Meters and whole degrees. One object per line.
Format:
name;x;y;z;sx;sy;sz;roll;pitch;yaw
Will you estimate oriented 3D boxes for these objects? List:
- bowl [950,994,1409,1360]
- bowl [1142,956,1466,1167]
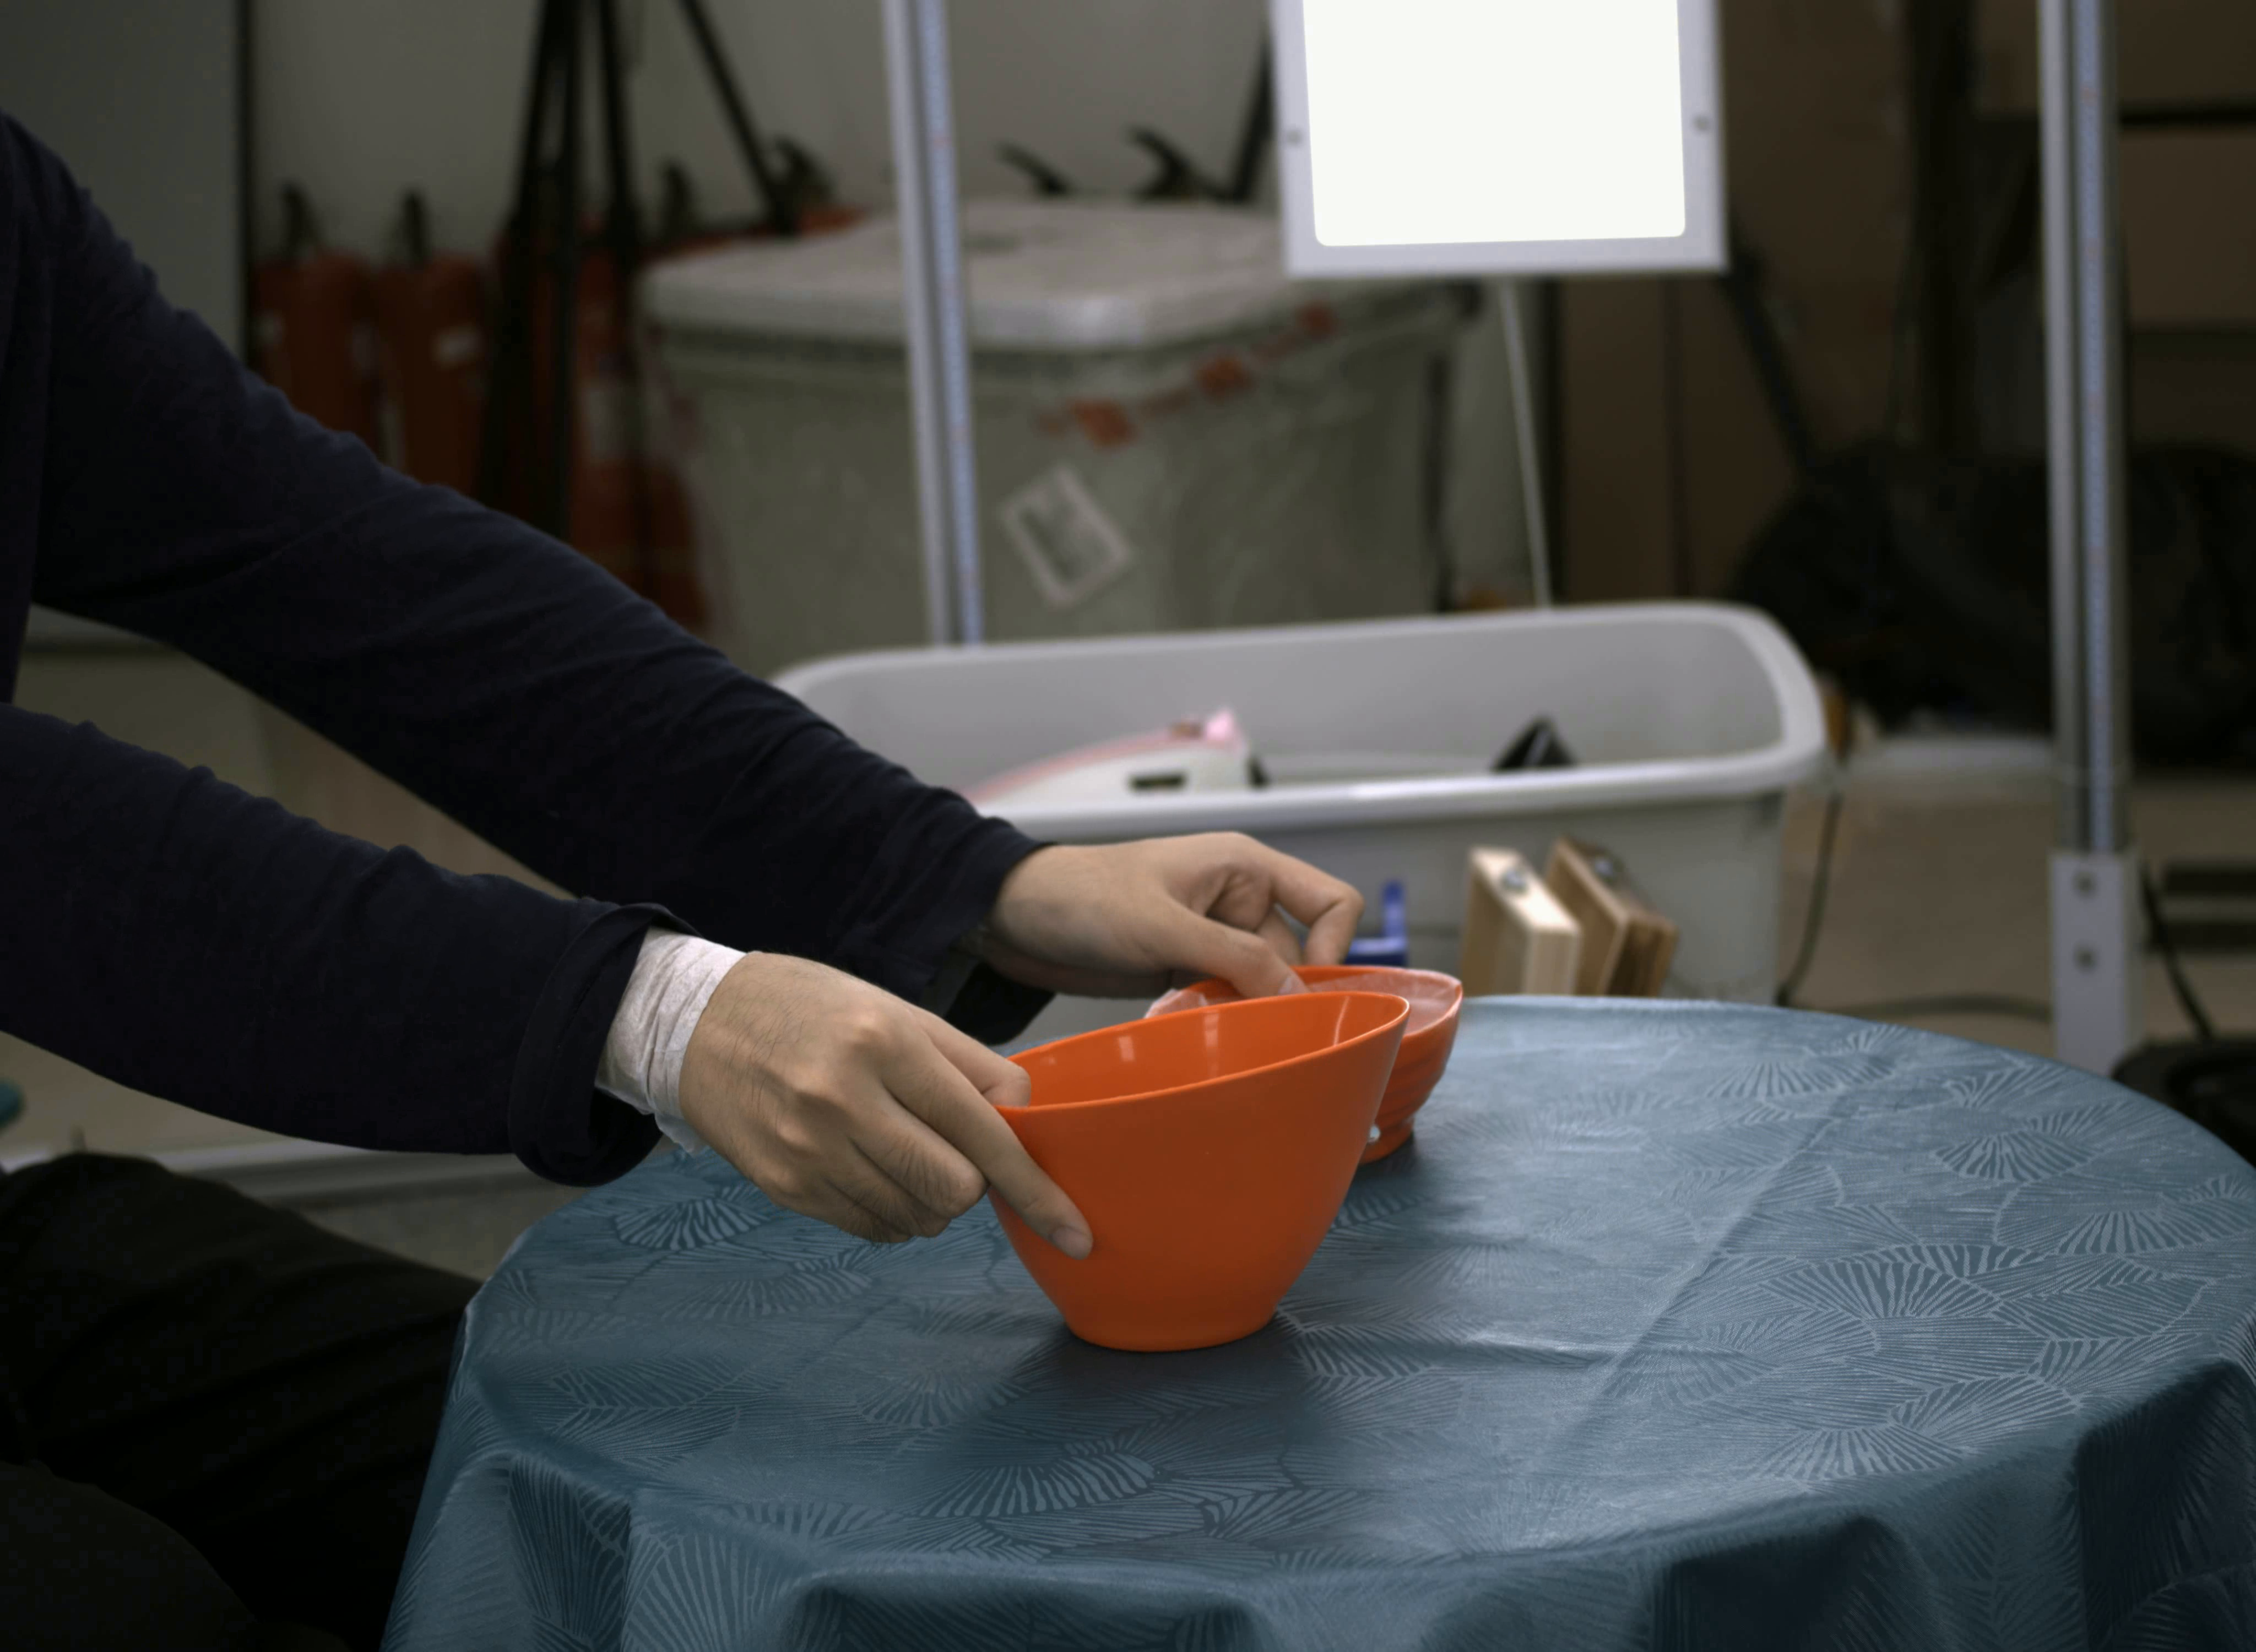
bowl;0.019;0.112;1.746;0.147;0.105;0.148;-5;14;0
bowl;0.063;0.085;1.935;0.118;0.051;0.119;-4;15;0
